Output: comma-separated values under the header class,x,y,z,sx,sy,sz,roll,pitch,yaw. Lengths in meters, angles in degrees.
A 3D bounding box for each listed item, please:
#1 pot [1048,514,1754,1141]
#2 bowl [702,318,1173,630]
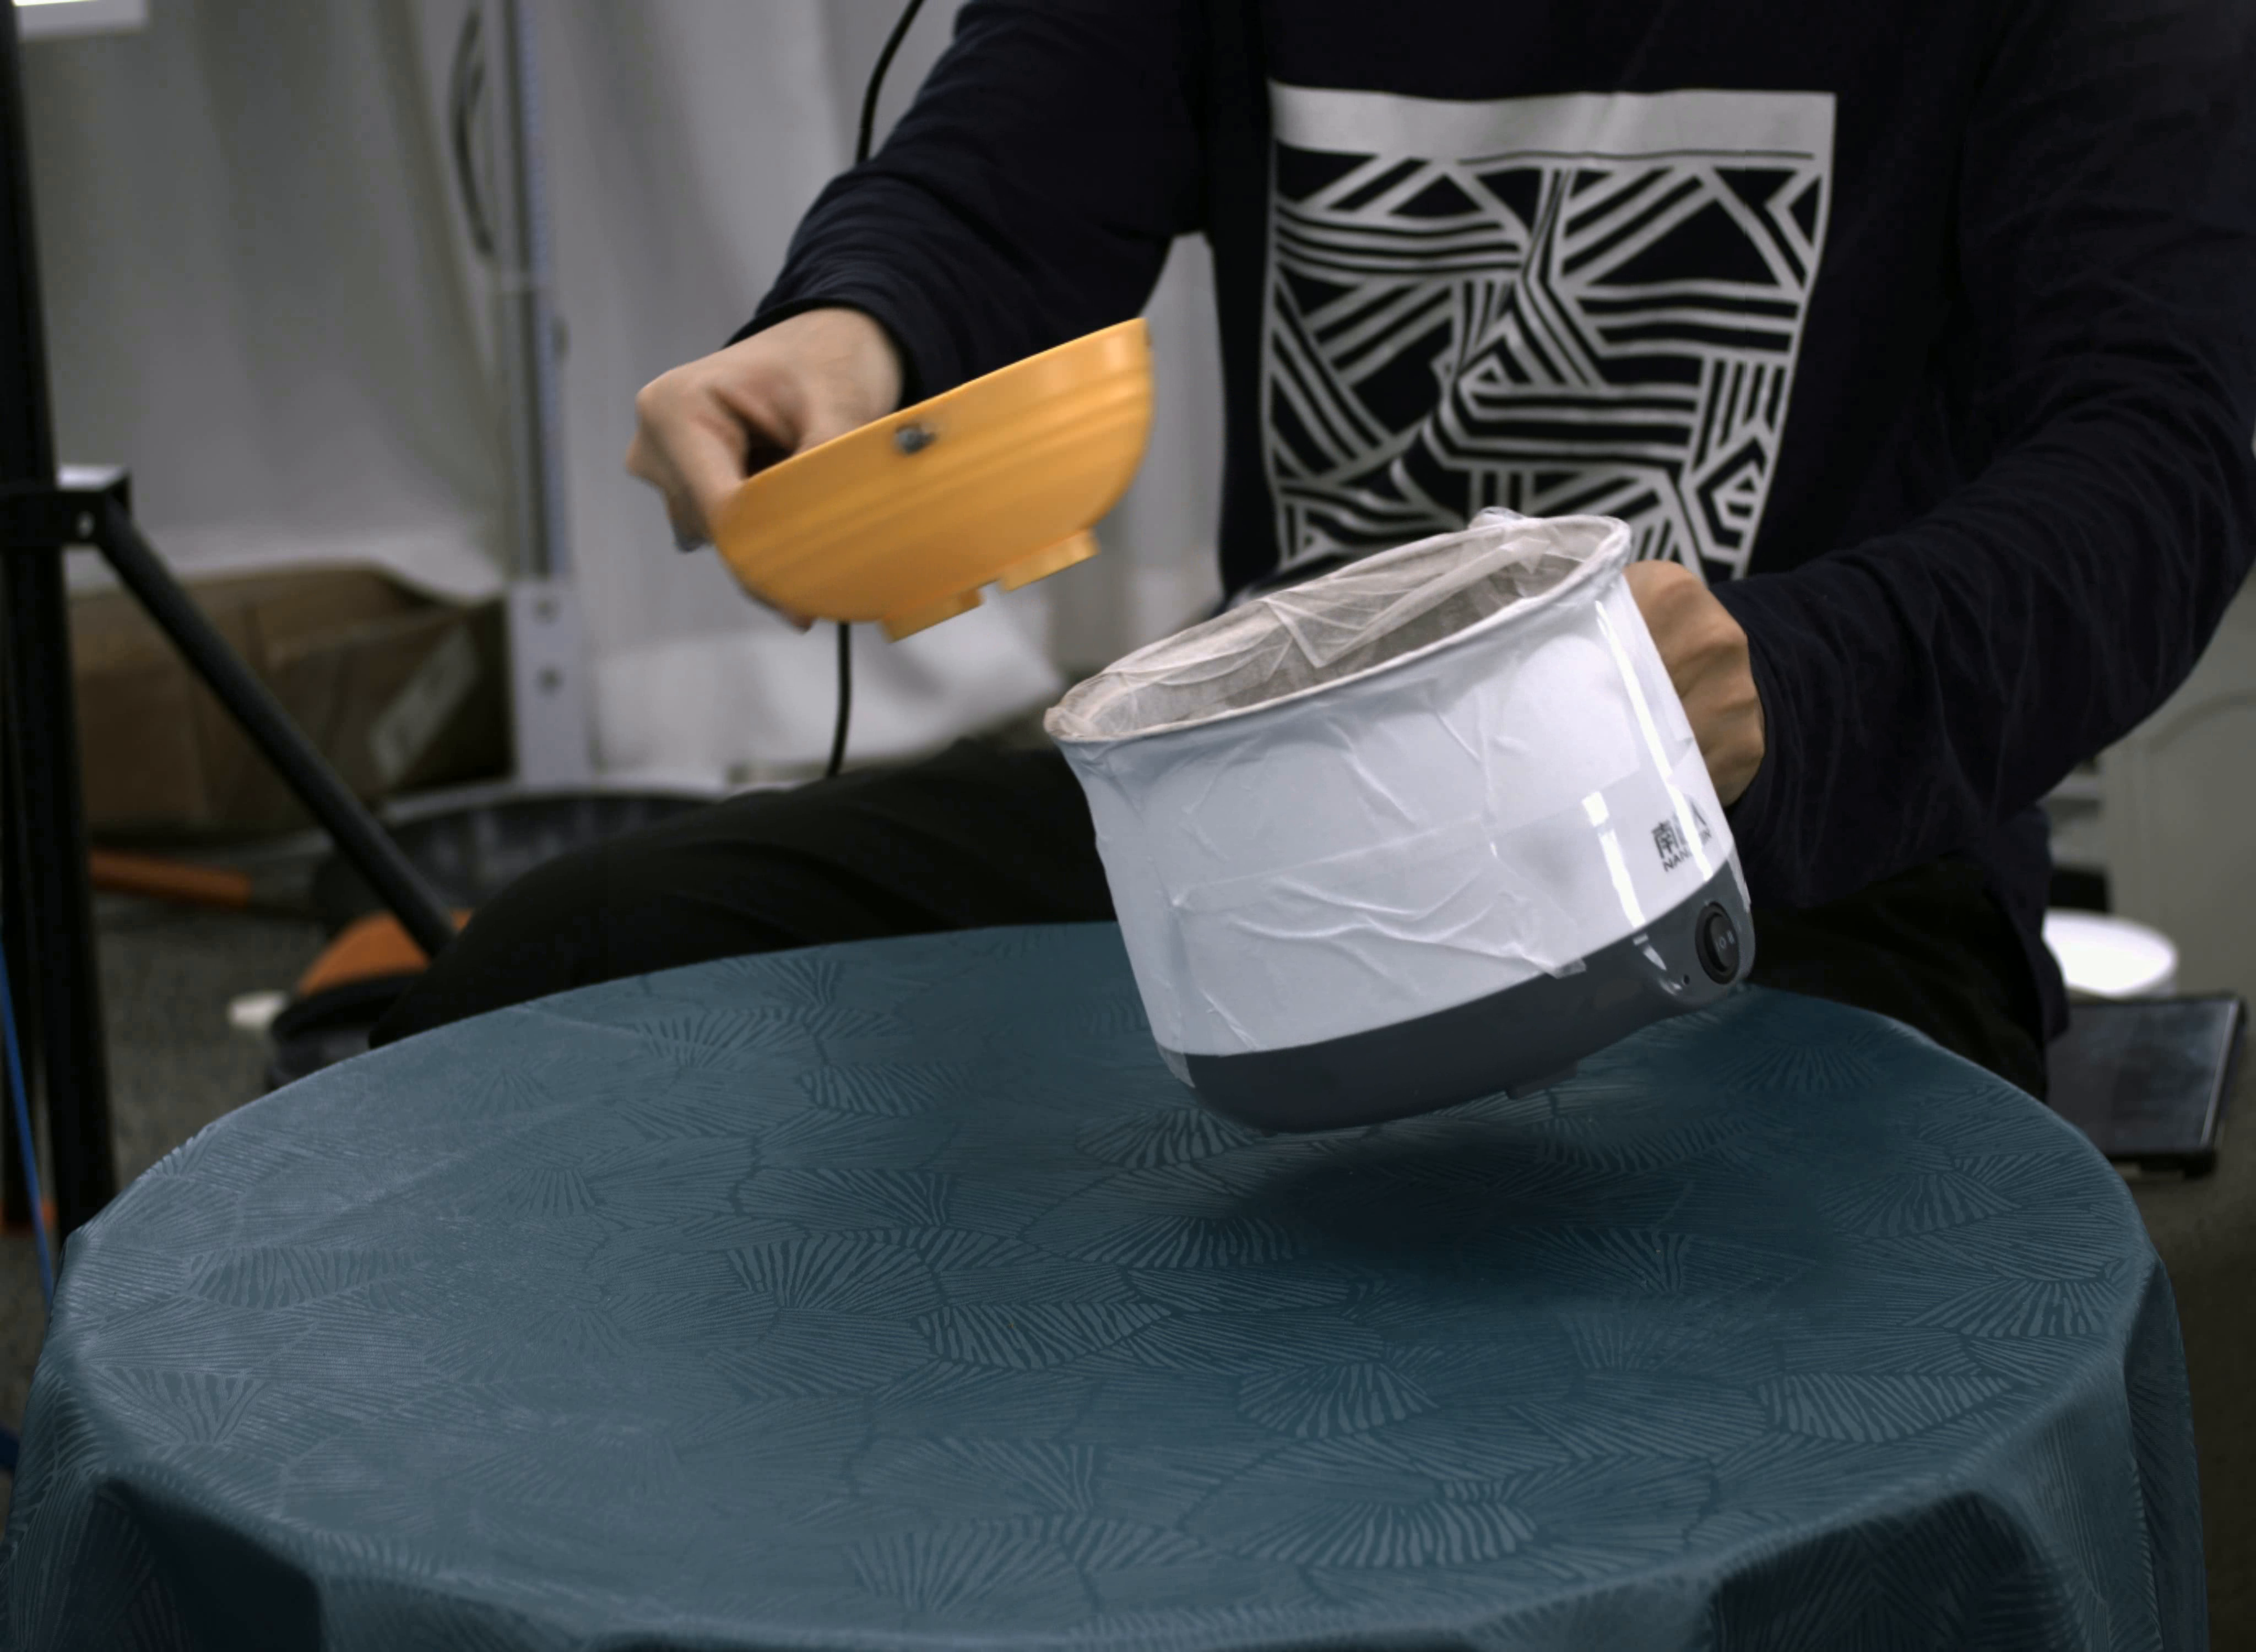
class,x,y,z,sx,sy,sz,roll,pitch,yaw
pot,0.094,-0.006,1.547,0.182,0.136,0.230,-13,11,35
bowl,-0.046,-0.096,1.544,0.145,0.060,0.145,-21,3,0
